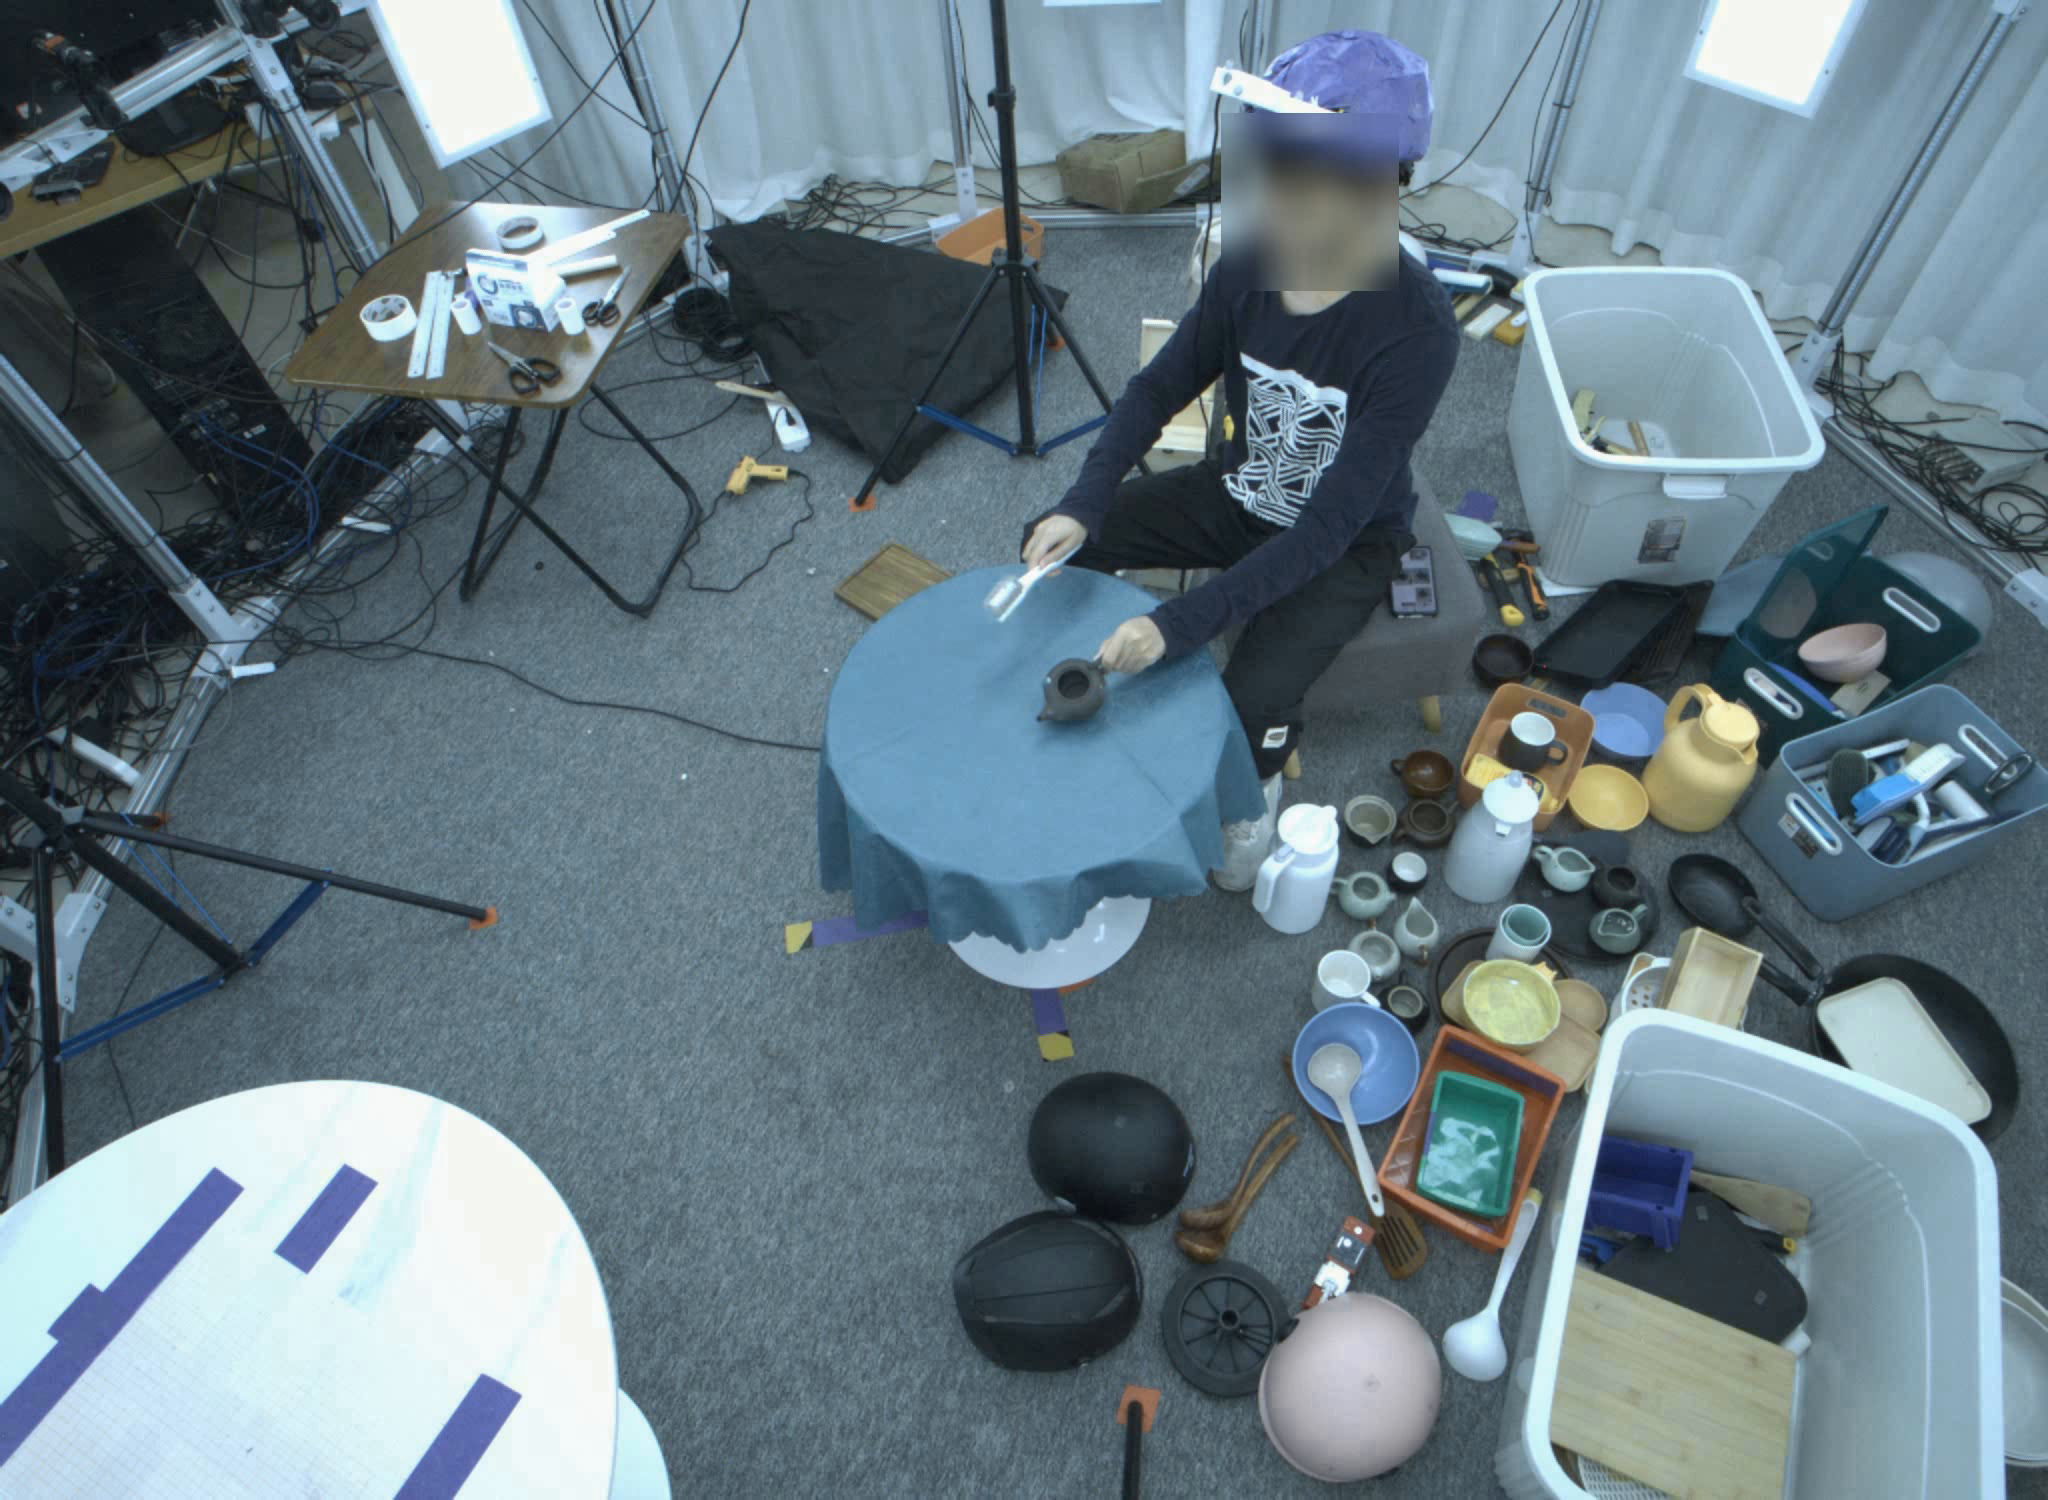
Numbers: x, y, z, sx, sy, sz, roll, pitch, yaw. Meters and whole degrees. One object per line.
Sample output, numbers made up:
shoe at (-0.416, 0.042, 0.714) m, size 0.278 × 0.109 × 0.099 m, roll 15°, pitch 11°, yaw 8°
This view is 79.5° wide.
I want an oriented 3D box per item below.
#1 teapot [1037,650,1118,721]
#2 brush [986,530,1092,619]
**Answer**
teapot at (0.078, -0.090, 1.795) m, size 0.154 × 0.065 × 0.091 m, roll -42°, pitch 72°, yaw -6°
brush at (0.027, -0.278, 1.849) m, size 0.034 × 0.050 × 0.245 m, roll 38°, pitch 59°, yaw 14°
